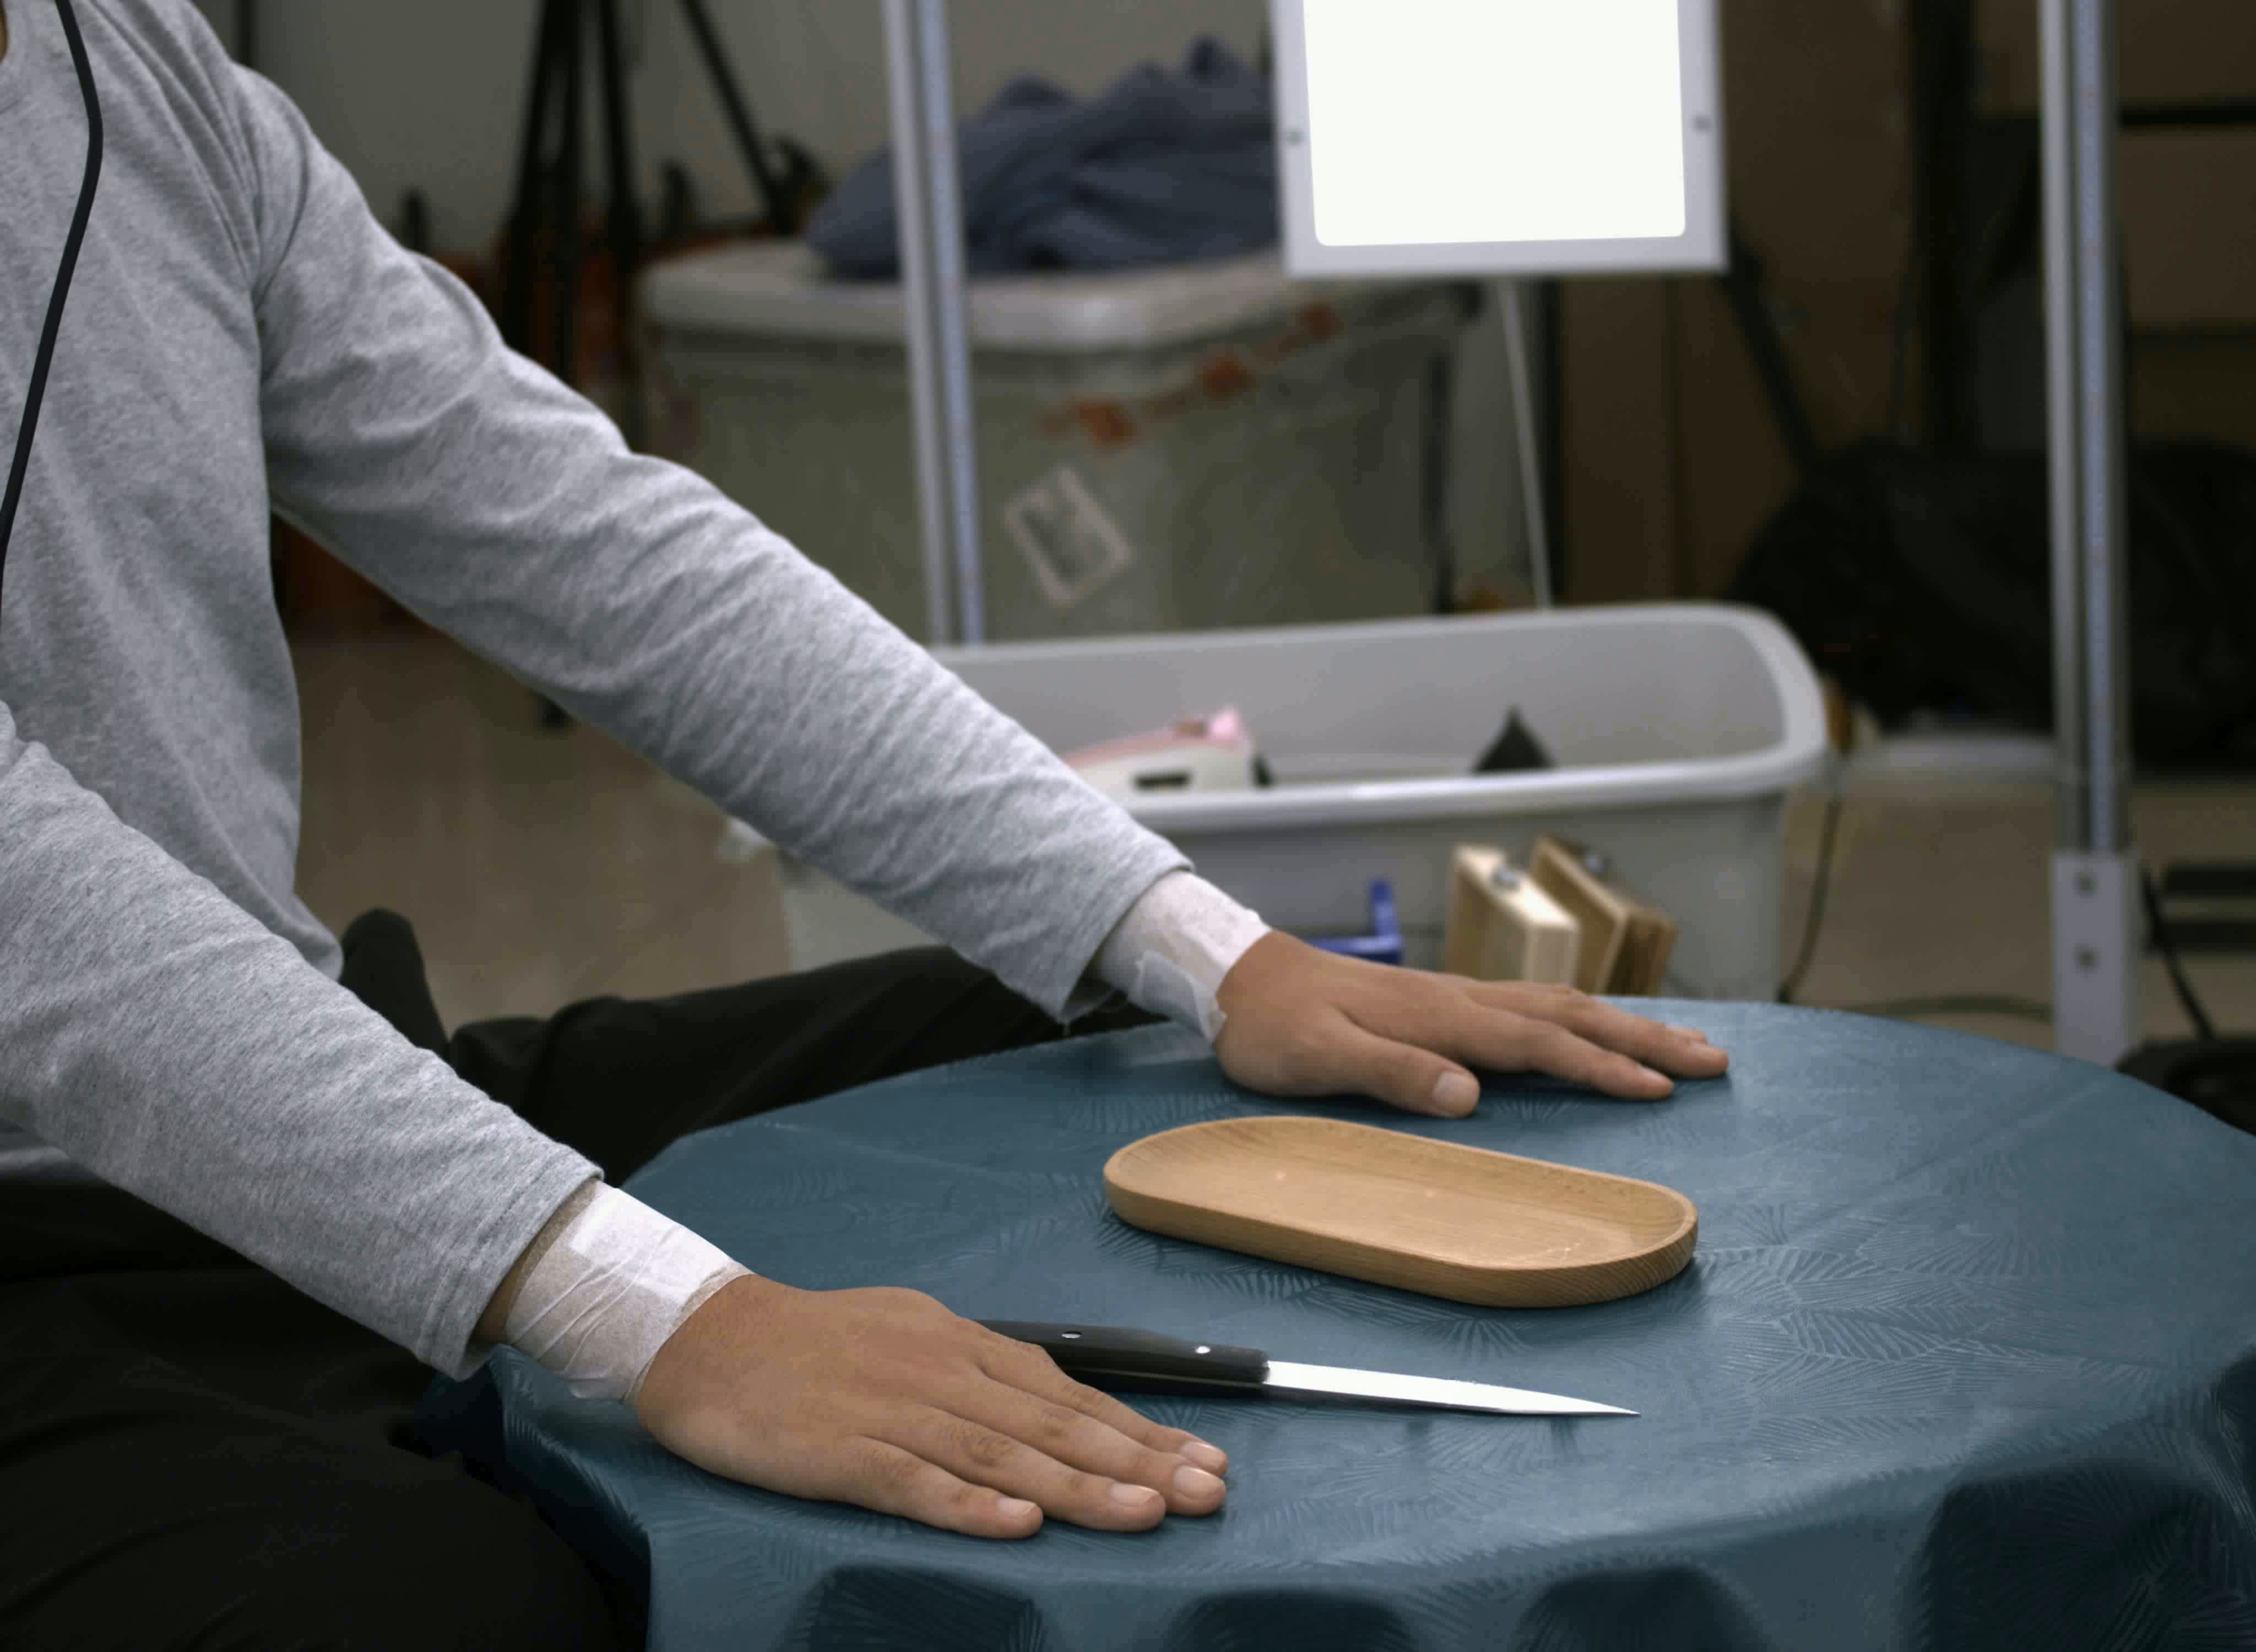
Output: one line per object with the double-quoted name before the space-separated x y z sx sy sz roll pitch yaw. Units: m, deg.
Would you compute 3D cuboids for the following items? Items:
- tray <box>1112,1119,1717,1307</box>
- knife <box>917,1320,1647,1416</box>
"tray" 0.093 0.128 1.832 0.236 0.020 0.099 9 21 43
"knife" 0.044 0.169 1.689 0.241 0.016 0.024 3 14 22
